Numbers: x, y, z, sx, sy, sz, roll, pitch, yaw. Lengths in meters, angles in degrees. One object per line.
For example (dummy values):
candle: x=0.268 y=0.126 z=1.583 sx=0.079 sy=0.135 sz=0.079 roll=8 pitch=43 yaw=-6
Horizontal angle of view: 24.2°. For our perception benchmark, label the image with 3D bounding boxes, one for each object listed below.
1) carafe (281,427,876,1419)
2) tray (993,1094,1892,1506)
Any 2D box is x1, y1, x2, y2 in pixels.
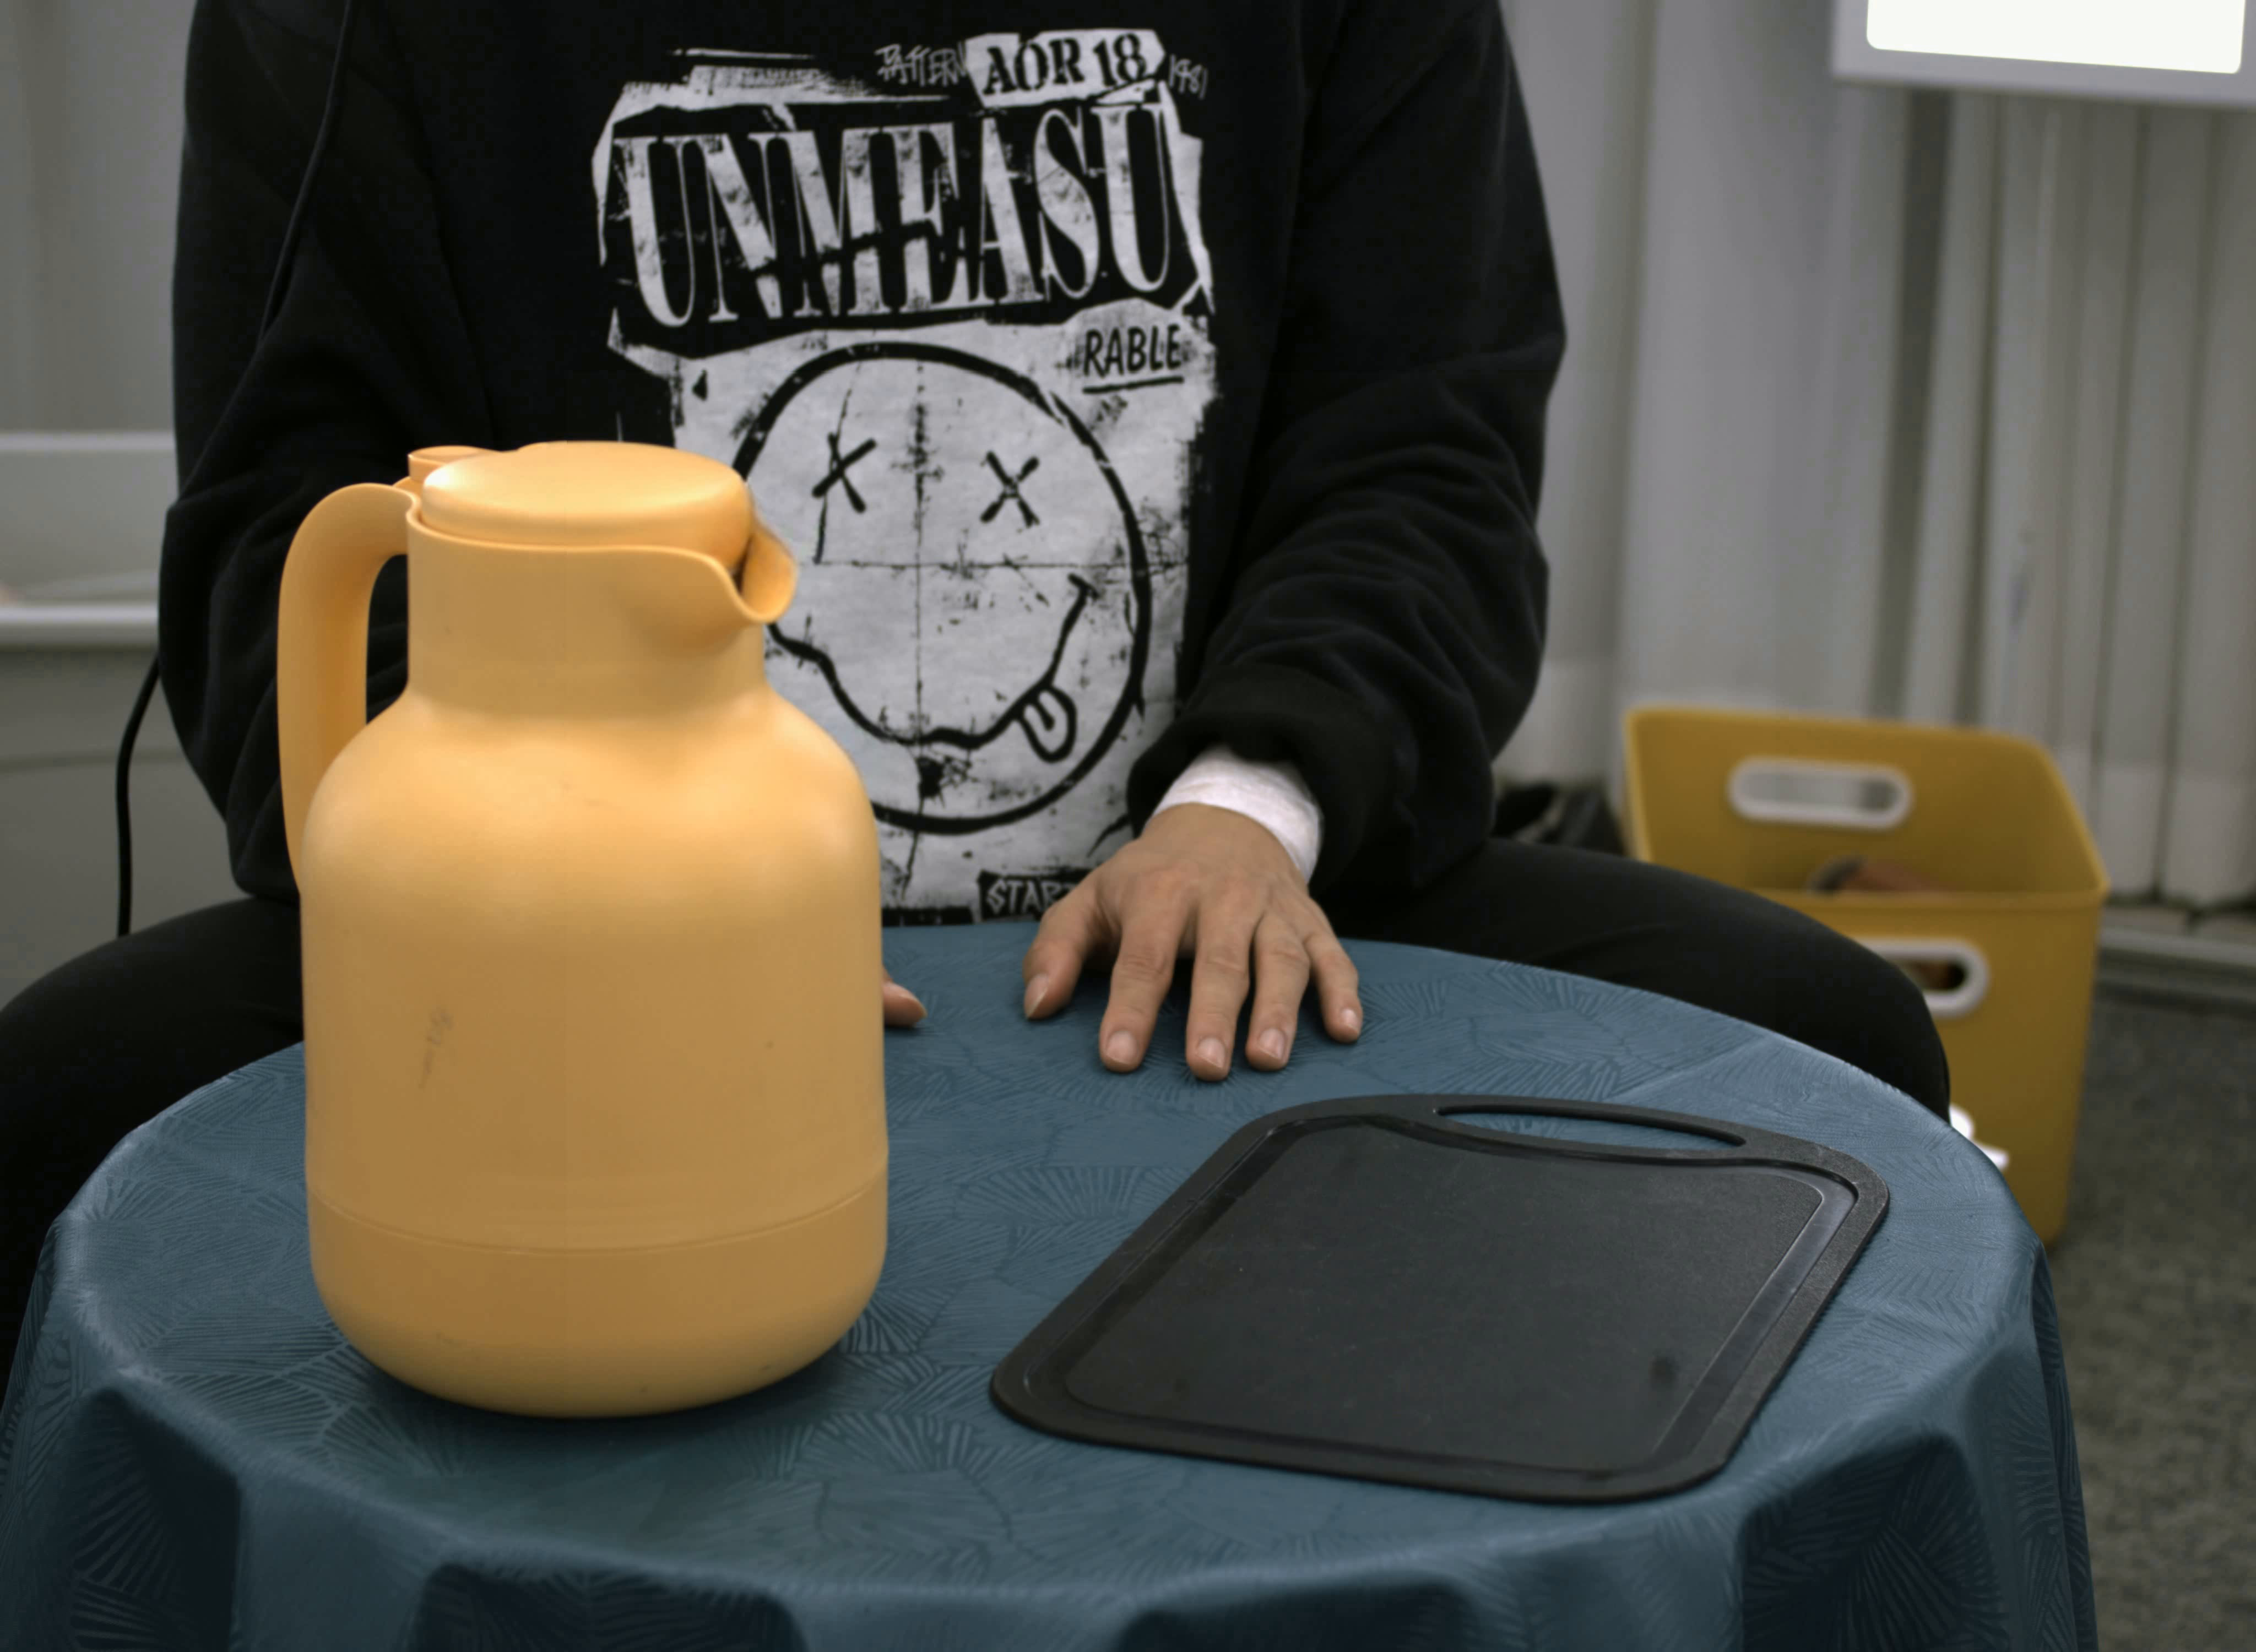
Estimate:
carafe: x=-0.162 y=0.018 z=1.465 sx=0.199 sy=0.262 sz=0.164 roll=18 pitch=21 yaw=42
tray: x=0.101 y=0.129 z=1.551 sx=0.209 sy=0.010 sz=0.325 roll=6 pitch=16 yaw=19
